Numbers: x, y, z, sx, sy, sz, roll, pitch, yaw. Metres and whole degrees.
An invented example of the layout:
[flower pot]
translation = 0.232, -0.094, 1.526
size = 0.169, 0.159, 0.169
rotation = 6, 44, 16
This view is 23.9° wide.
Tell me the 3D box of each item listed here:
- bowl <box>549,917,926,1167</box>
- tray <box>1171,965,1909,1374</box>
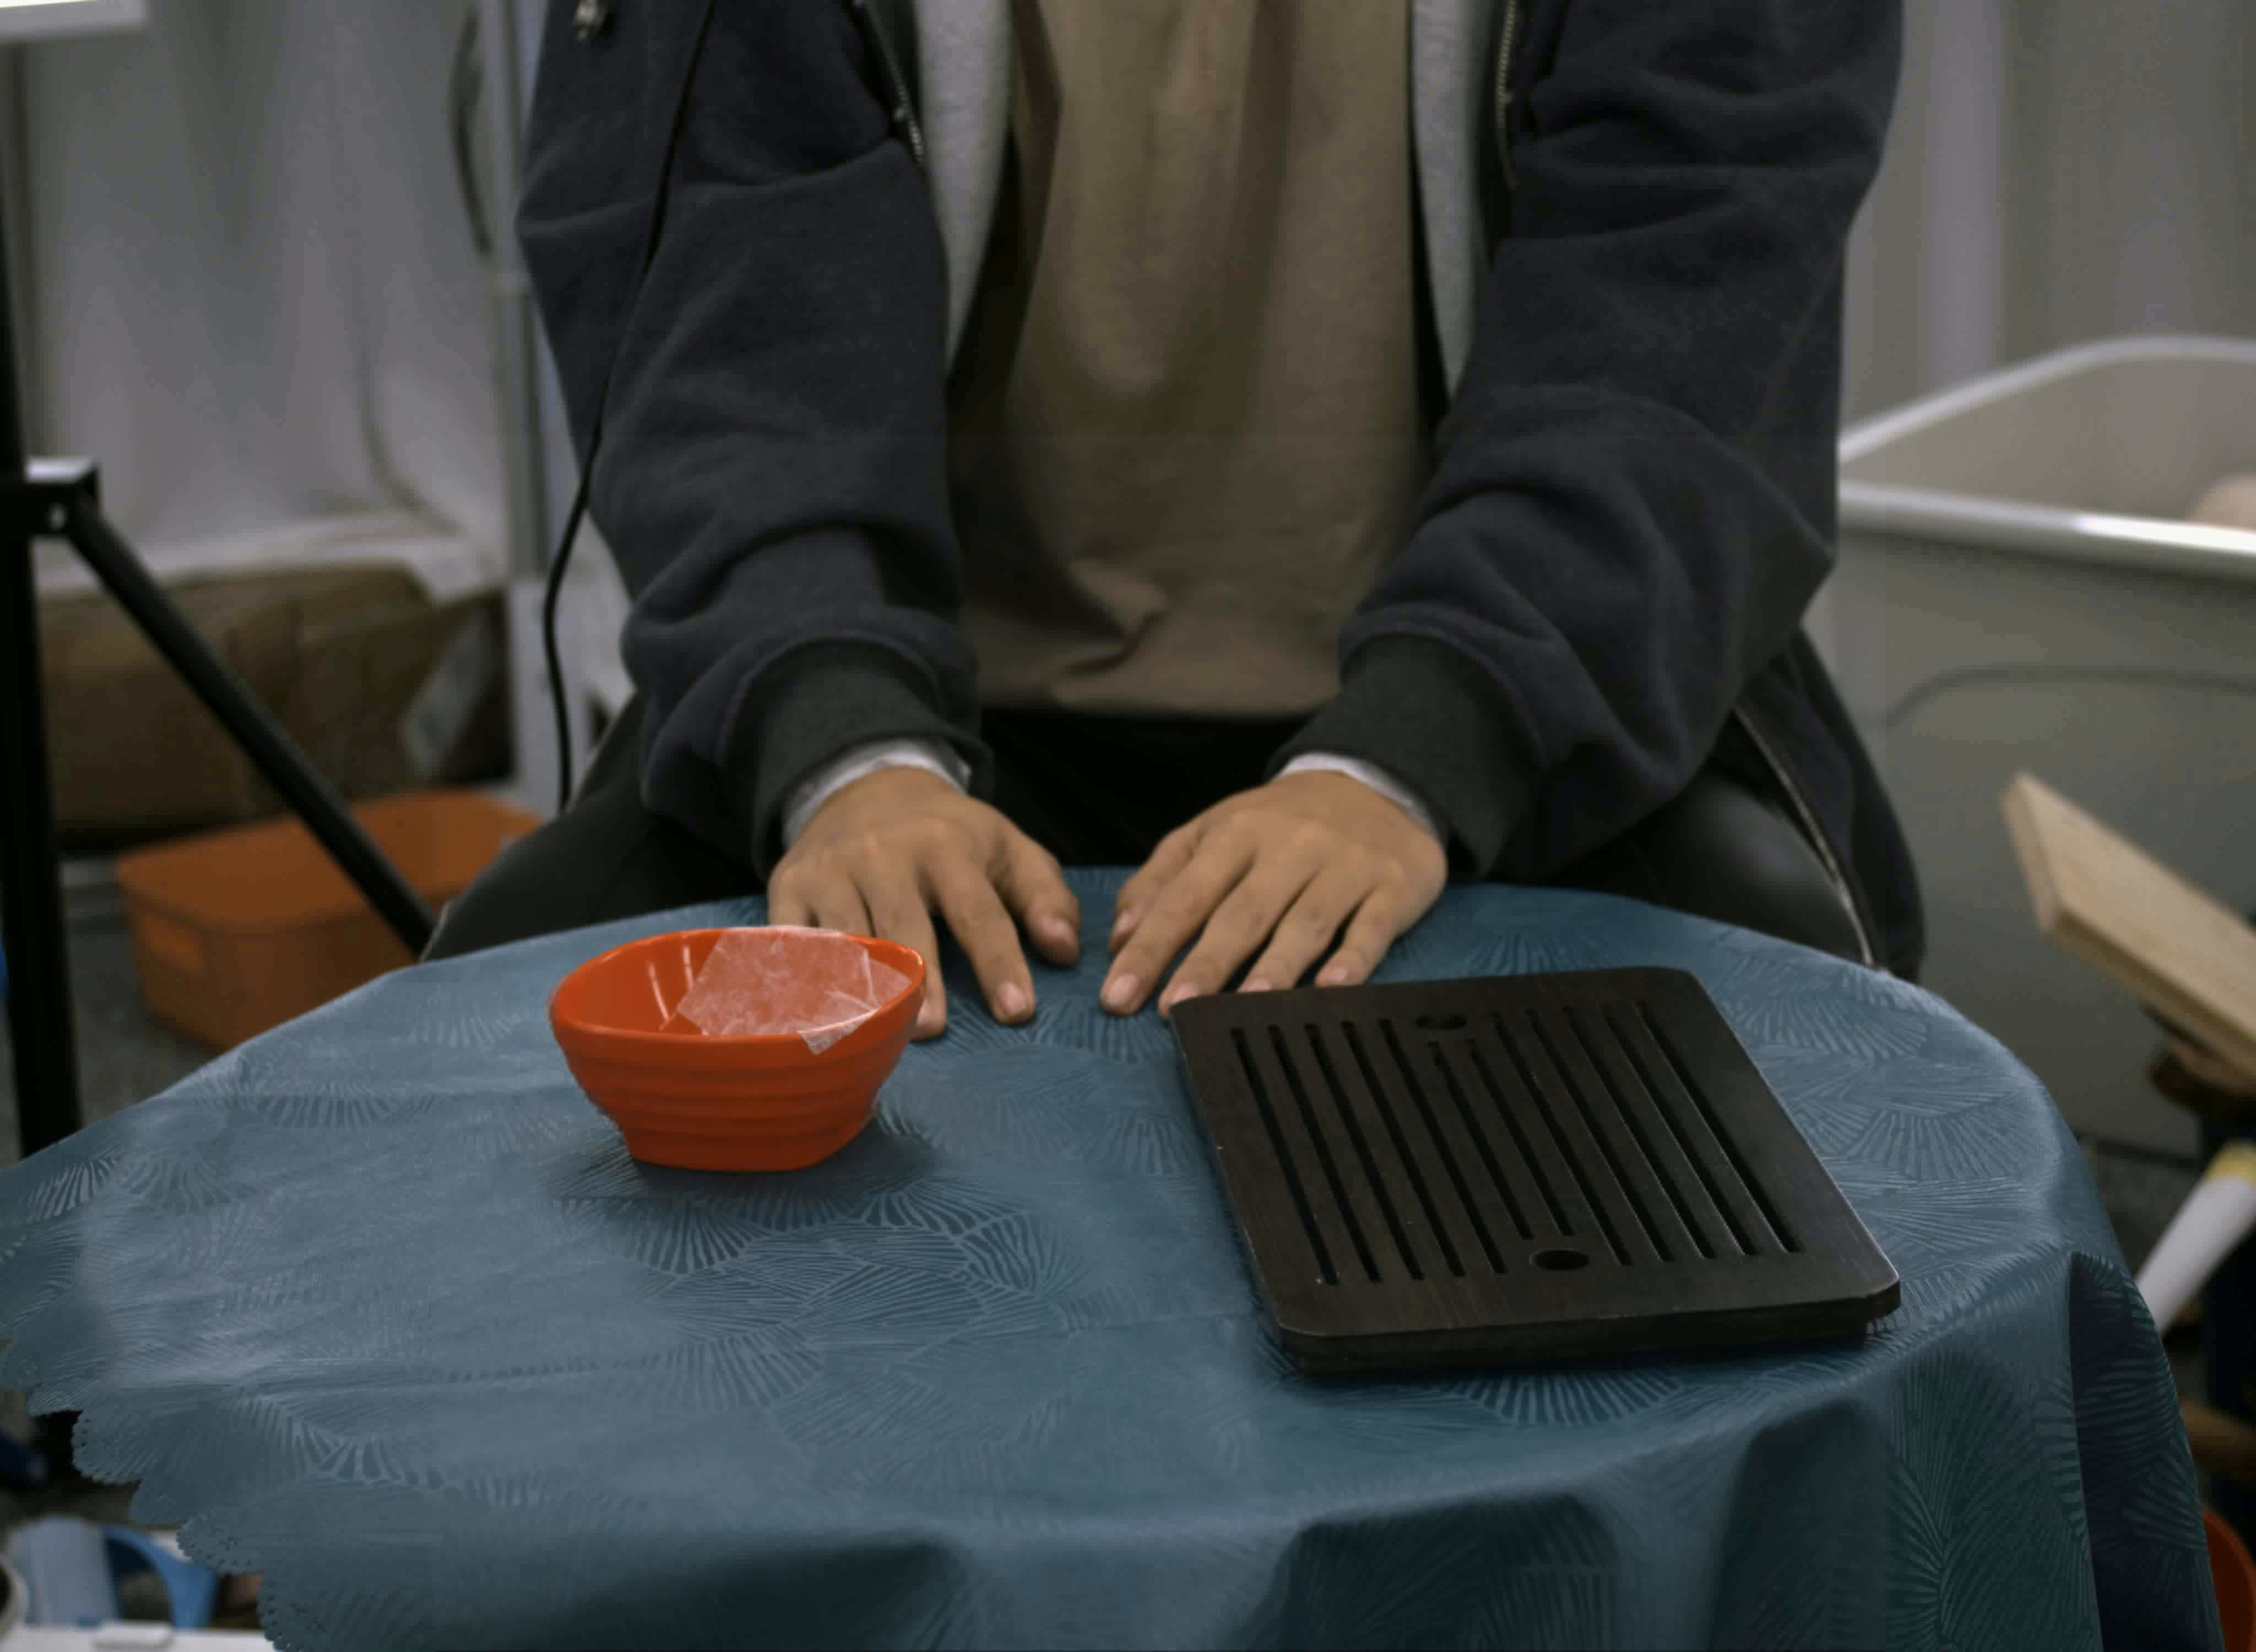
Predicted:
[bowl]
translation = -0.116, 0.068, 1.620
size = 0.118, 0.051, 0.119
rotation = -4, 17, 0
[tray]
translation = 0.112, 0.097, 1.547
size = 0.169, 0.018, 0.308
rotation = -4, 15, -4
